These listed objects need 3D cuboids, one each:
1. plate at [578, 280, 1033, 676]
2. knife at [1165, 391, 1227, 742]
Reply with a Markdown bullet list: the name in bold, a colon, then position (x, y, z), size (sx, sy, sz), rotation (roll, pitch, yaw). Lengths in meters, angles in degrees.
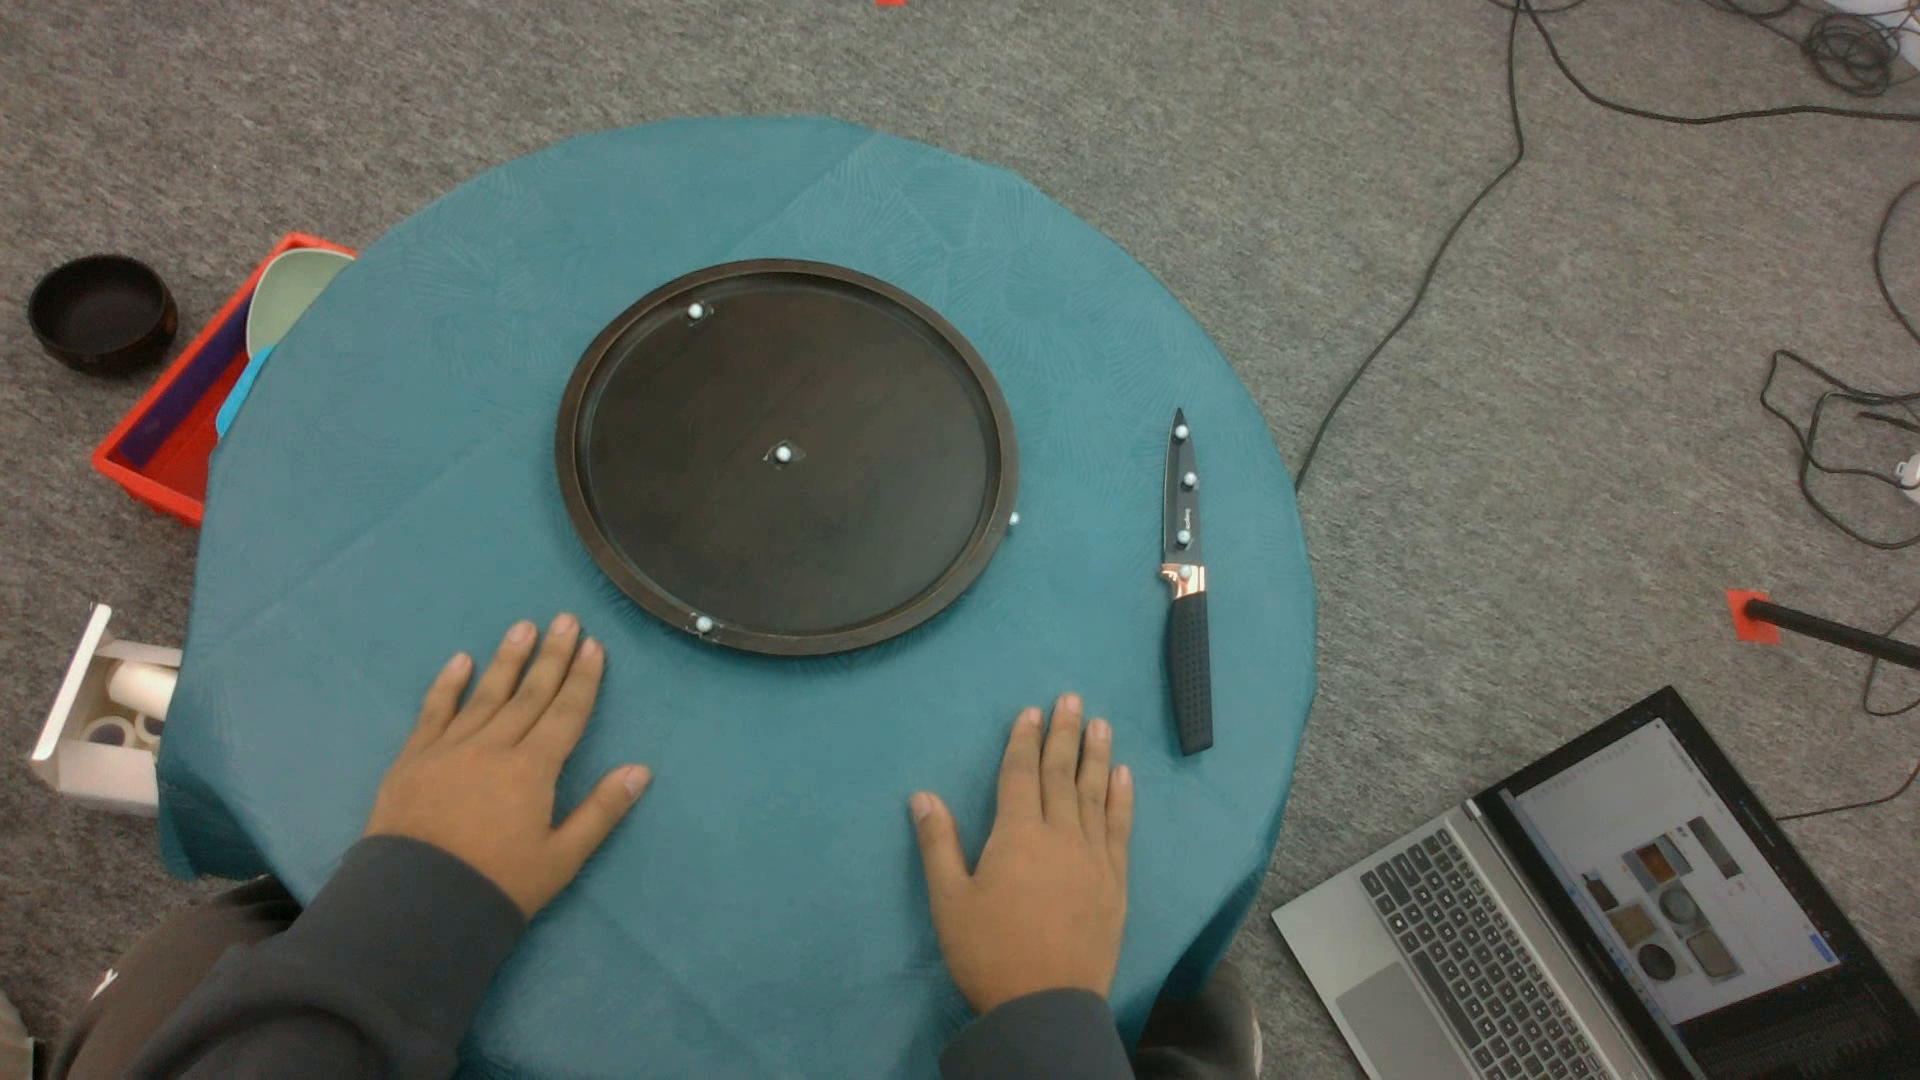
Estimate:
- **plate**: position (-0.085, -0.040, 0.778), size (0.255, 0.029, 0.255), rotation (4, 64, -7)
- **knife**: position (0.136, 0.008, 0.793), size (0.026, 0.017, 0.226), rotation (1, 62, -1)
